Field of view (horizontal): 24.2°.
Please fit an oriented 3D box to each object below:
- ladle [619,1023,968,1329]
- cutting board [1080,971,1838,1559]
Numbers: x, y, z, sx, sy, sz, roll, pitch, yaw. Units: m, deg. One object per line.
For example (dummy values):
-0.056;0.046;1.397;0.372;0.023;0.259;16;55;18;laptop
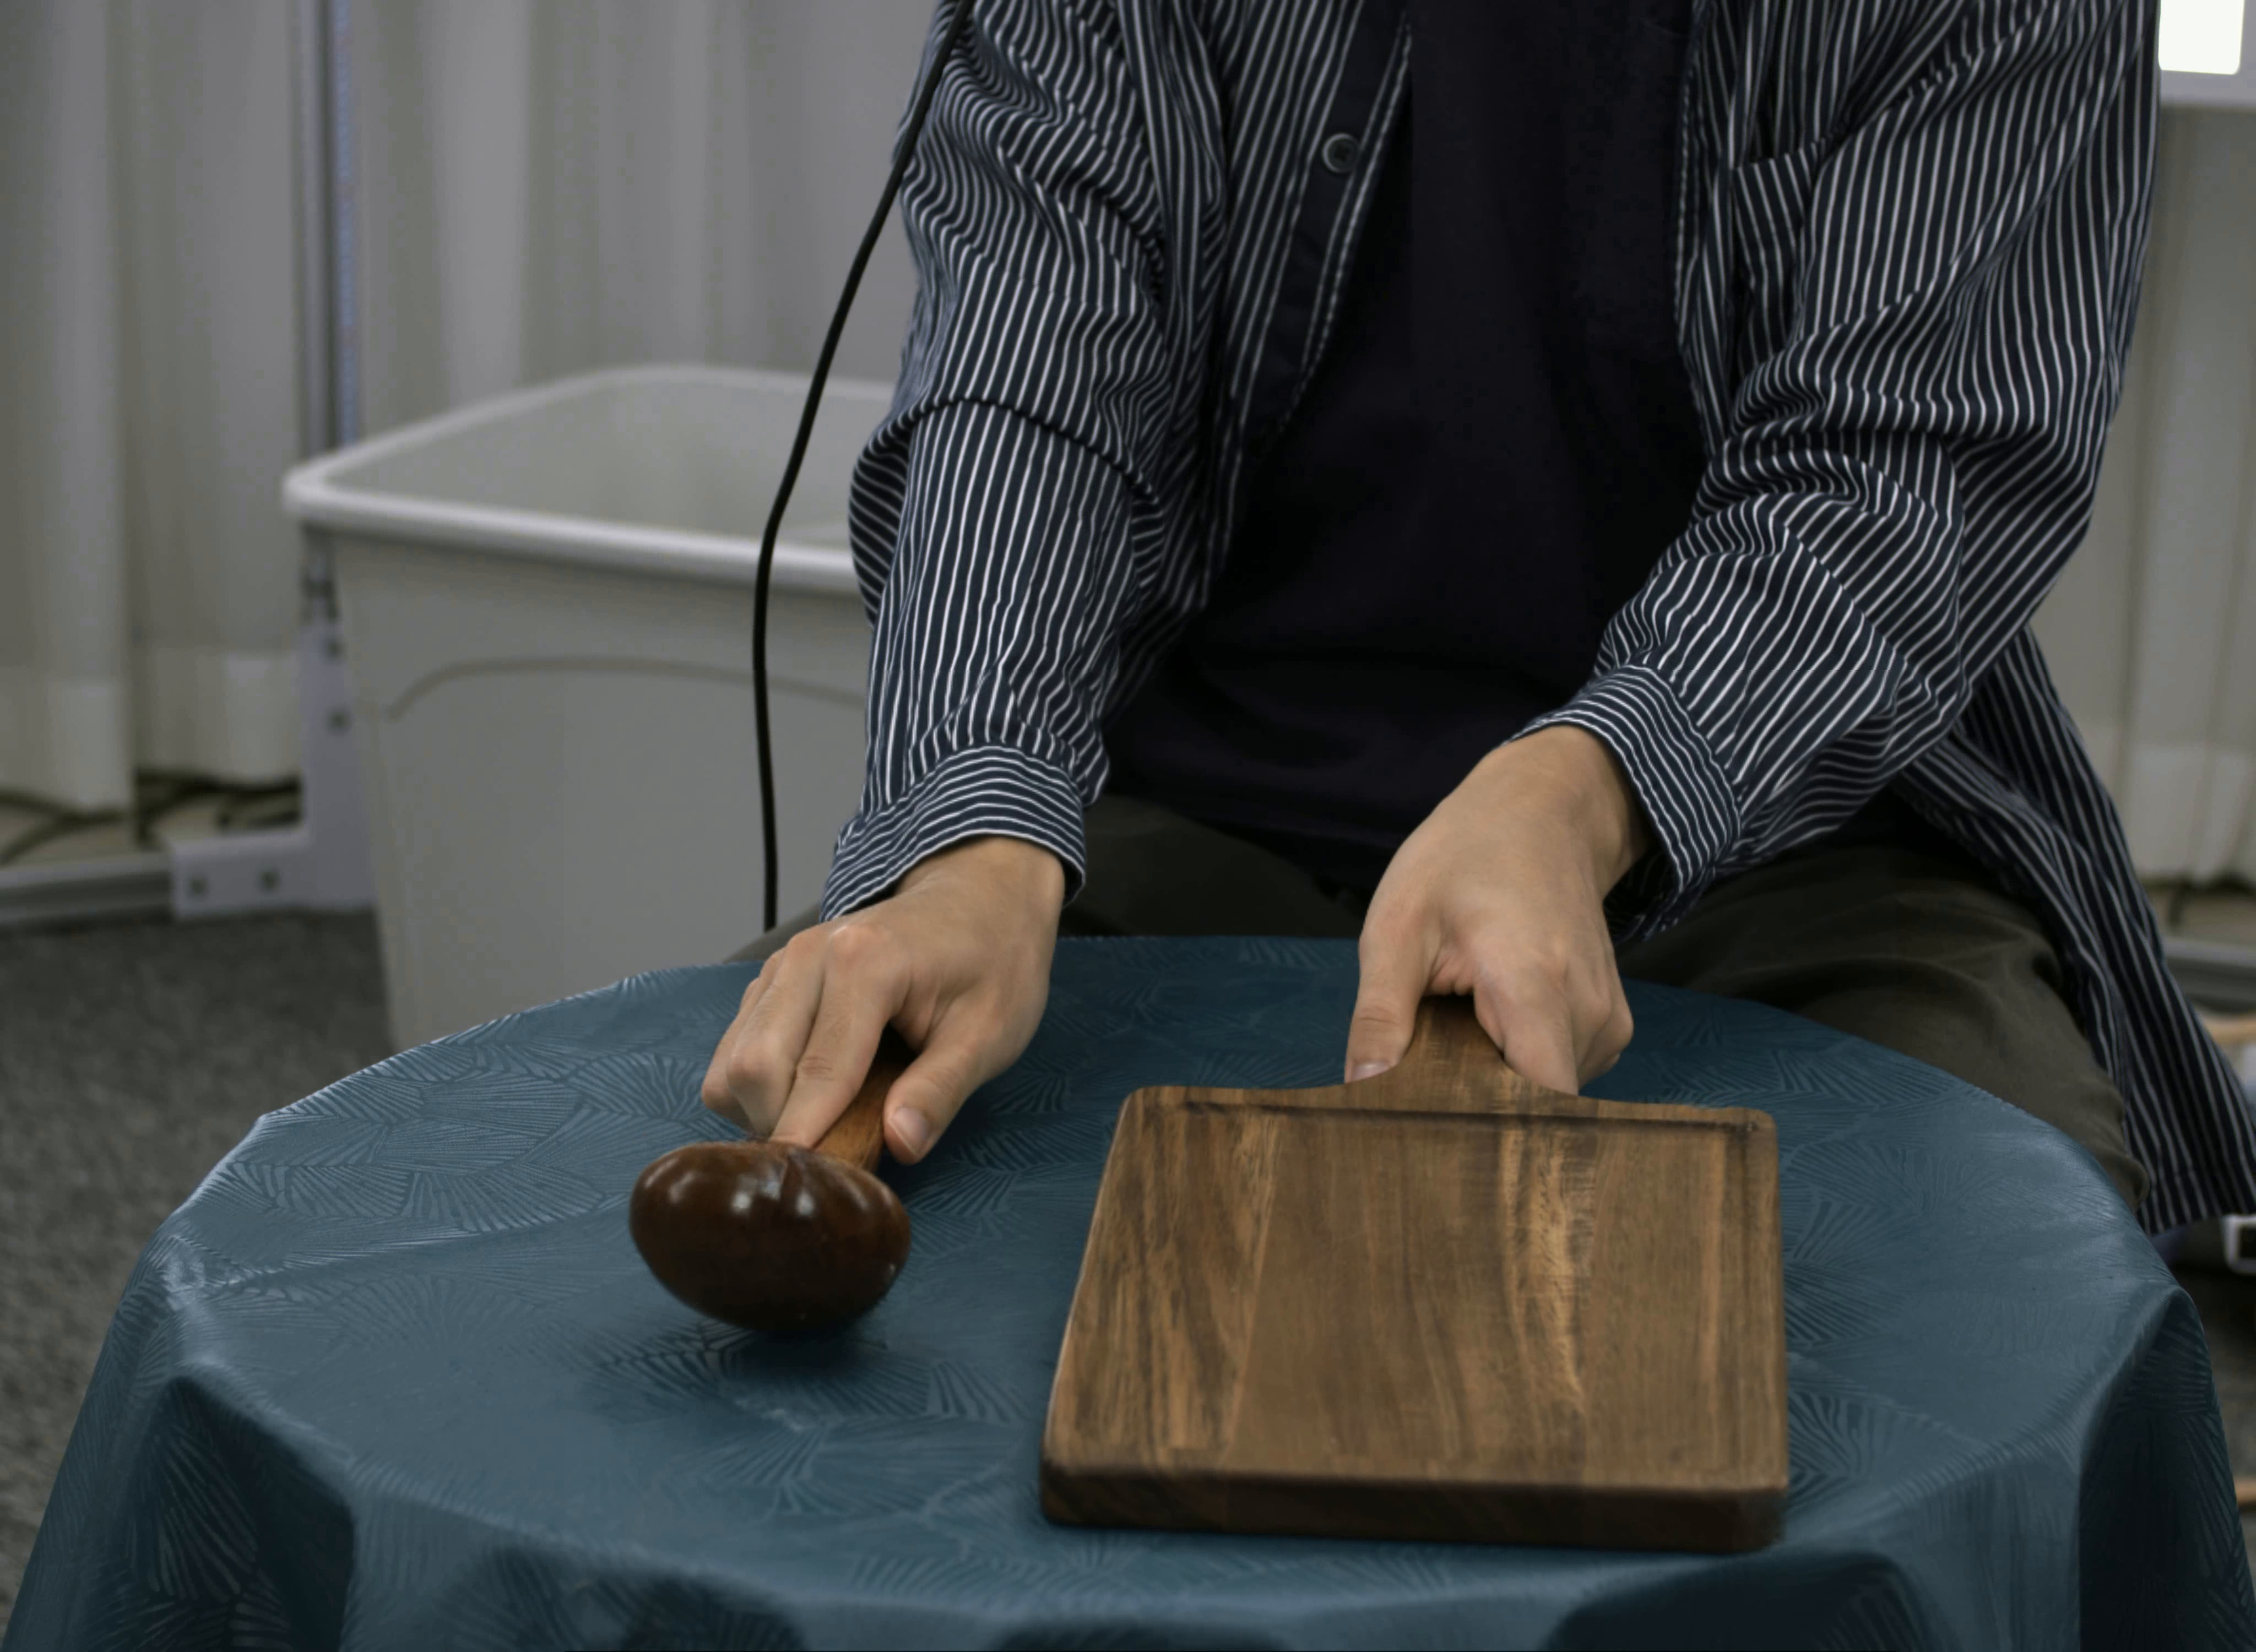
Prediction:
-0.087;0.081;1.580;0.081;0.077;0.273;9;20;7;ladle
0.102;0.116;1.520;0.200;0.023;0.350;3;21;6;cutting board
